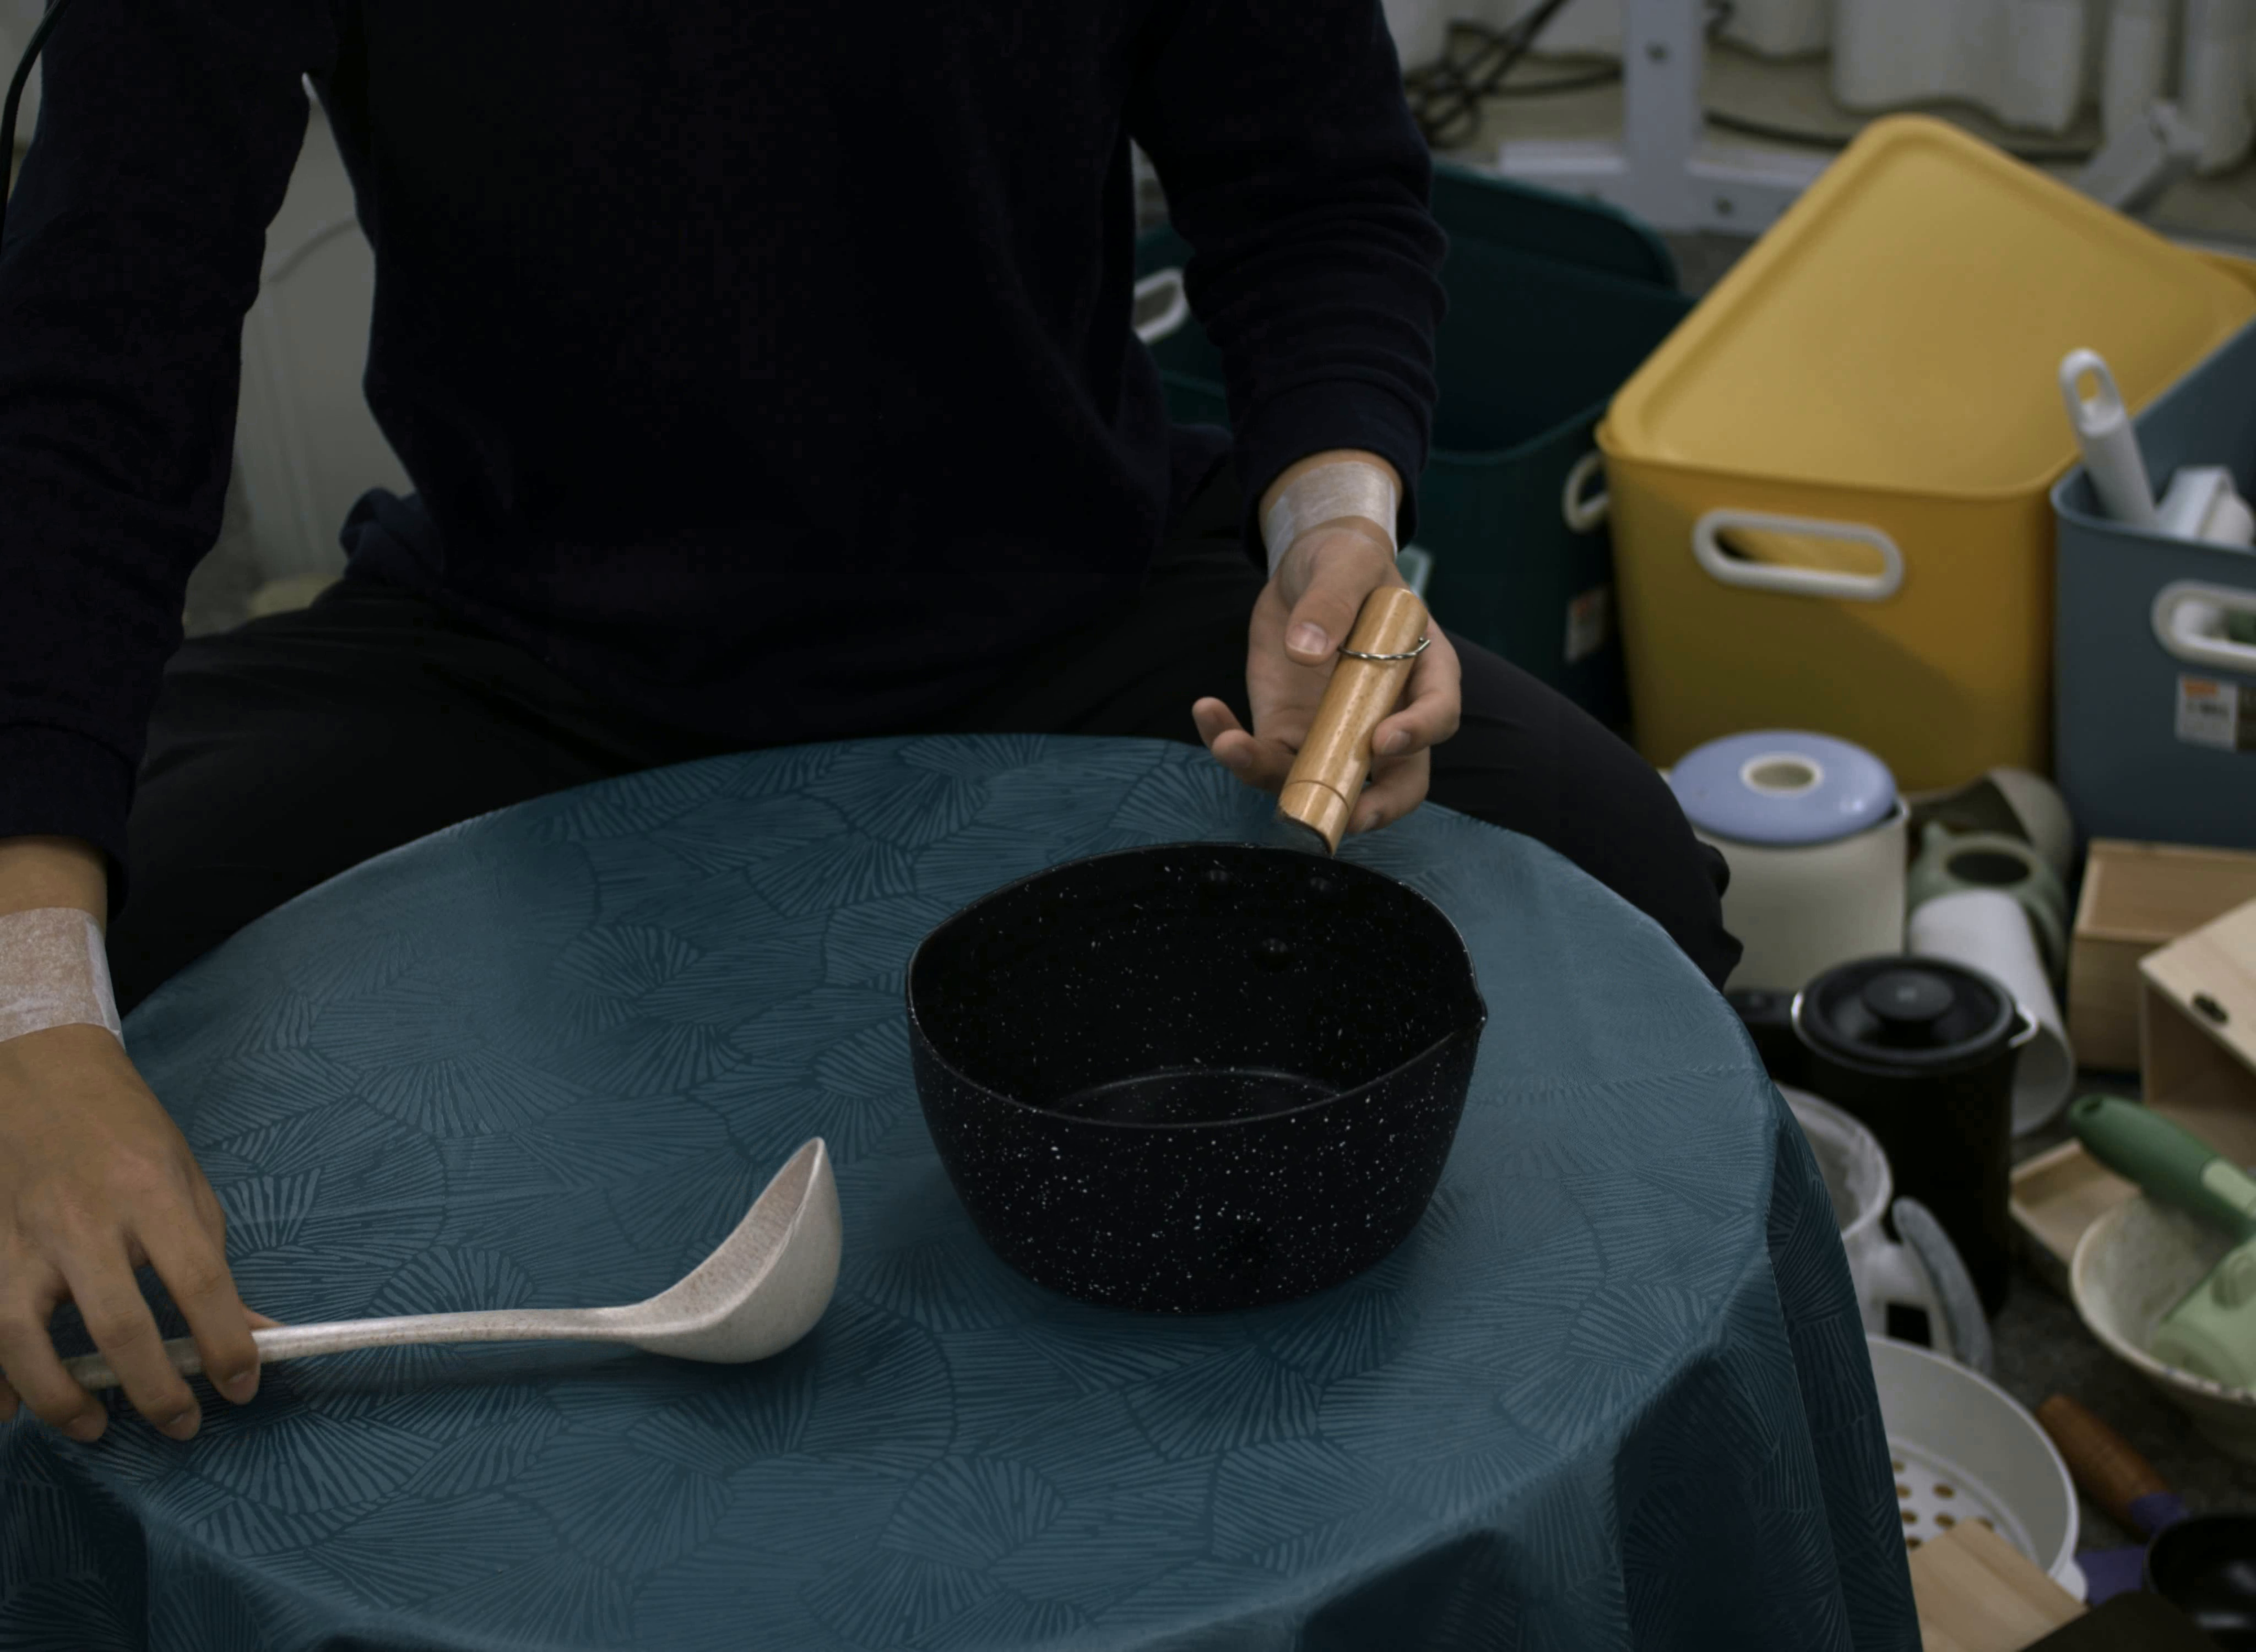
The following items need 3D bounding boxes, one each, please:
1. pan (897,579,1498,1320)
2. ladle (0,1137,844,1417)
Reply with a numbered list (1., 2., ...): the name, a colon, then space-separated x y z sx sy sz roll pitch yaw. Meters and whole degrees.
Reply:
1. pan: 0.045 0.038 1.902 0.206 0.107 0.349 5 30 17
2. ladle: -0.226 0.142 1.769 0.274 0.069 0.090 -4 16 -3
